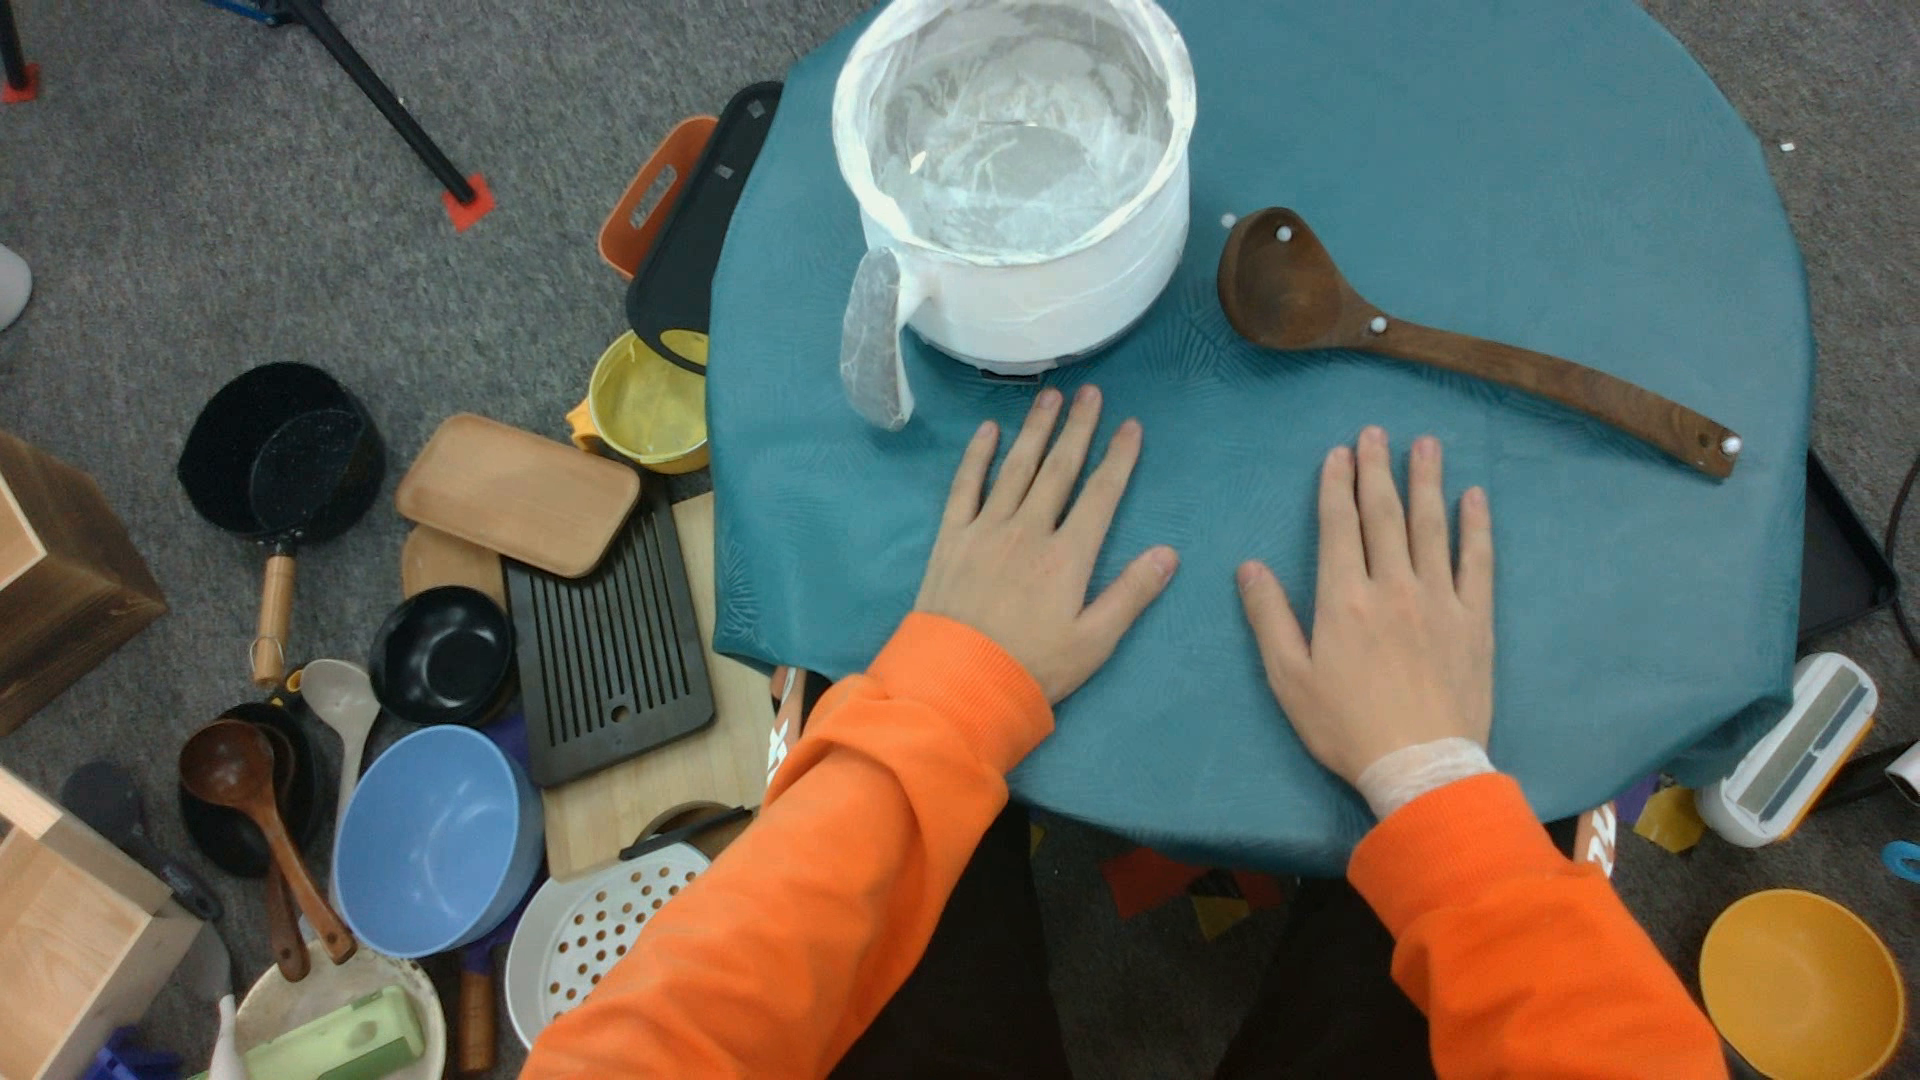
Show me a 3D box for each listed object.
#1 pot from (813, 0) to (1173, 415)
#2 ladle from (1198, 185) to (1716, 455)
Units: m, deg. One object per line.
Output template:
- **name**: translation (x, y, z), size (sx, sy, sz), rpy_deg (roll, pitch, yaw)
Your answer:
- **pot**: translation (0.006, -0.175, 0.722), size (0.179, 0.136, 0.234), rpy_deg (32, 77, 17)
- **ladle**: translation (0.255, -0.110, 0.704), size (0.274, 0.071, 0.076), rpy_deg (22, 80, 14)
